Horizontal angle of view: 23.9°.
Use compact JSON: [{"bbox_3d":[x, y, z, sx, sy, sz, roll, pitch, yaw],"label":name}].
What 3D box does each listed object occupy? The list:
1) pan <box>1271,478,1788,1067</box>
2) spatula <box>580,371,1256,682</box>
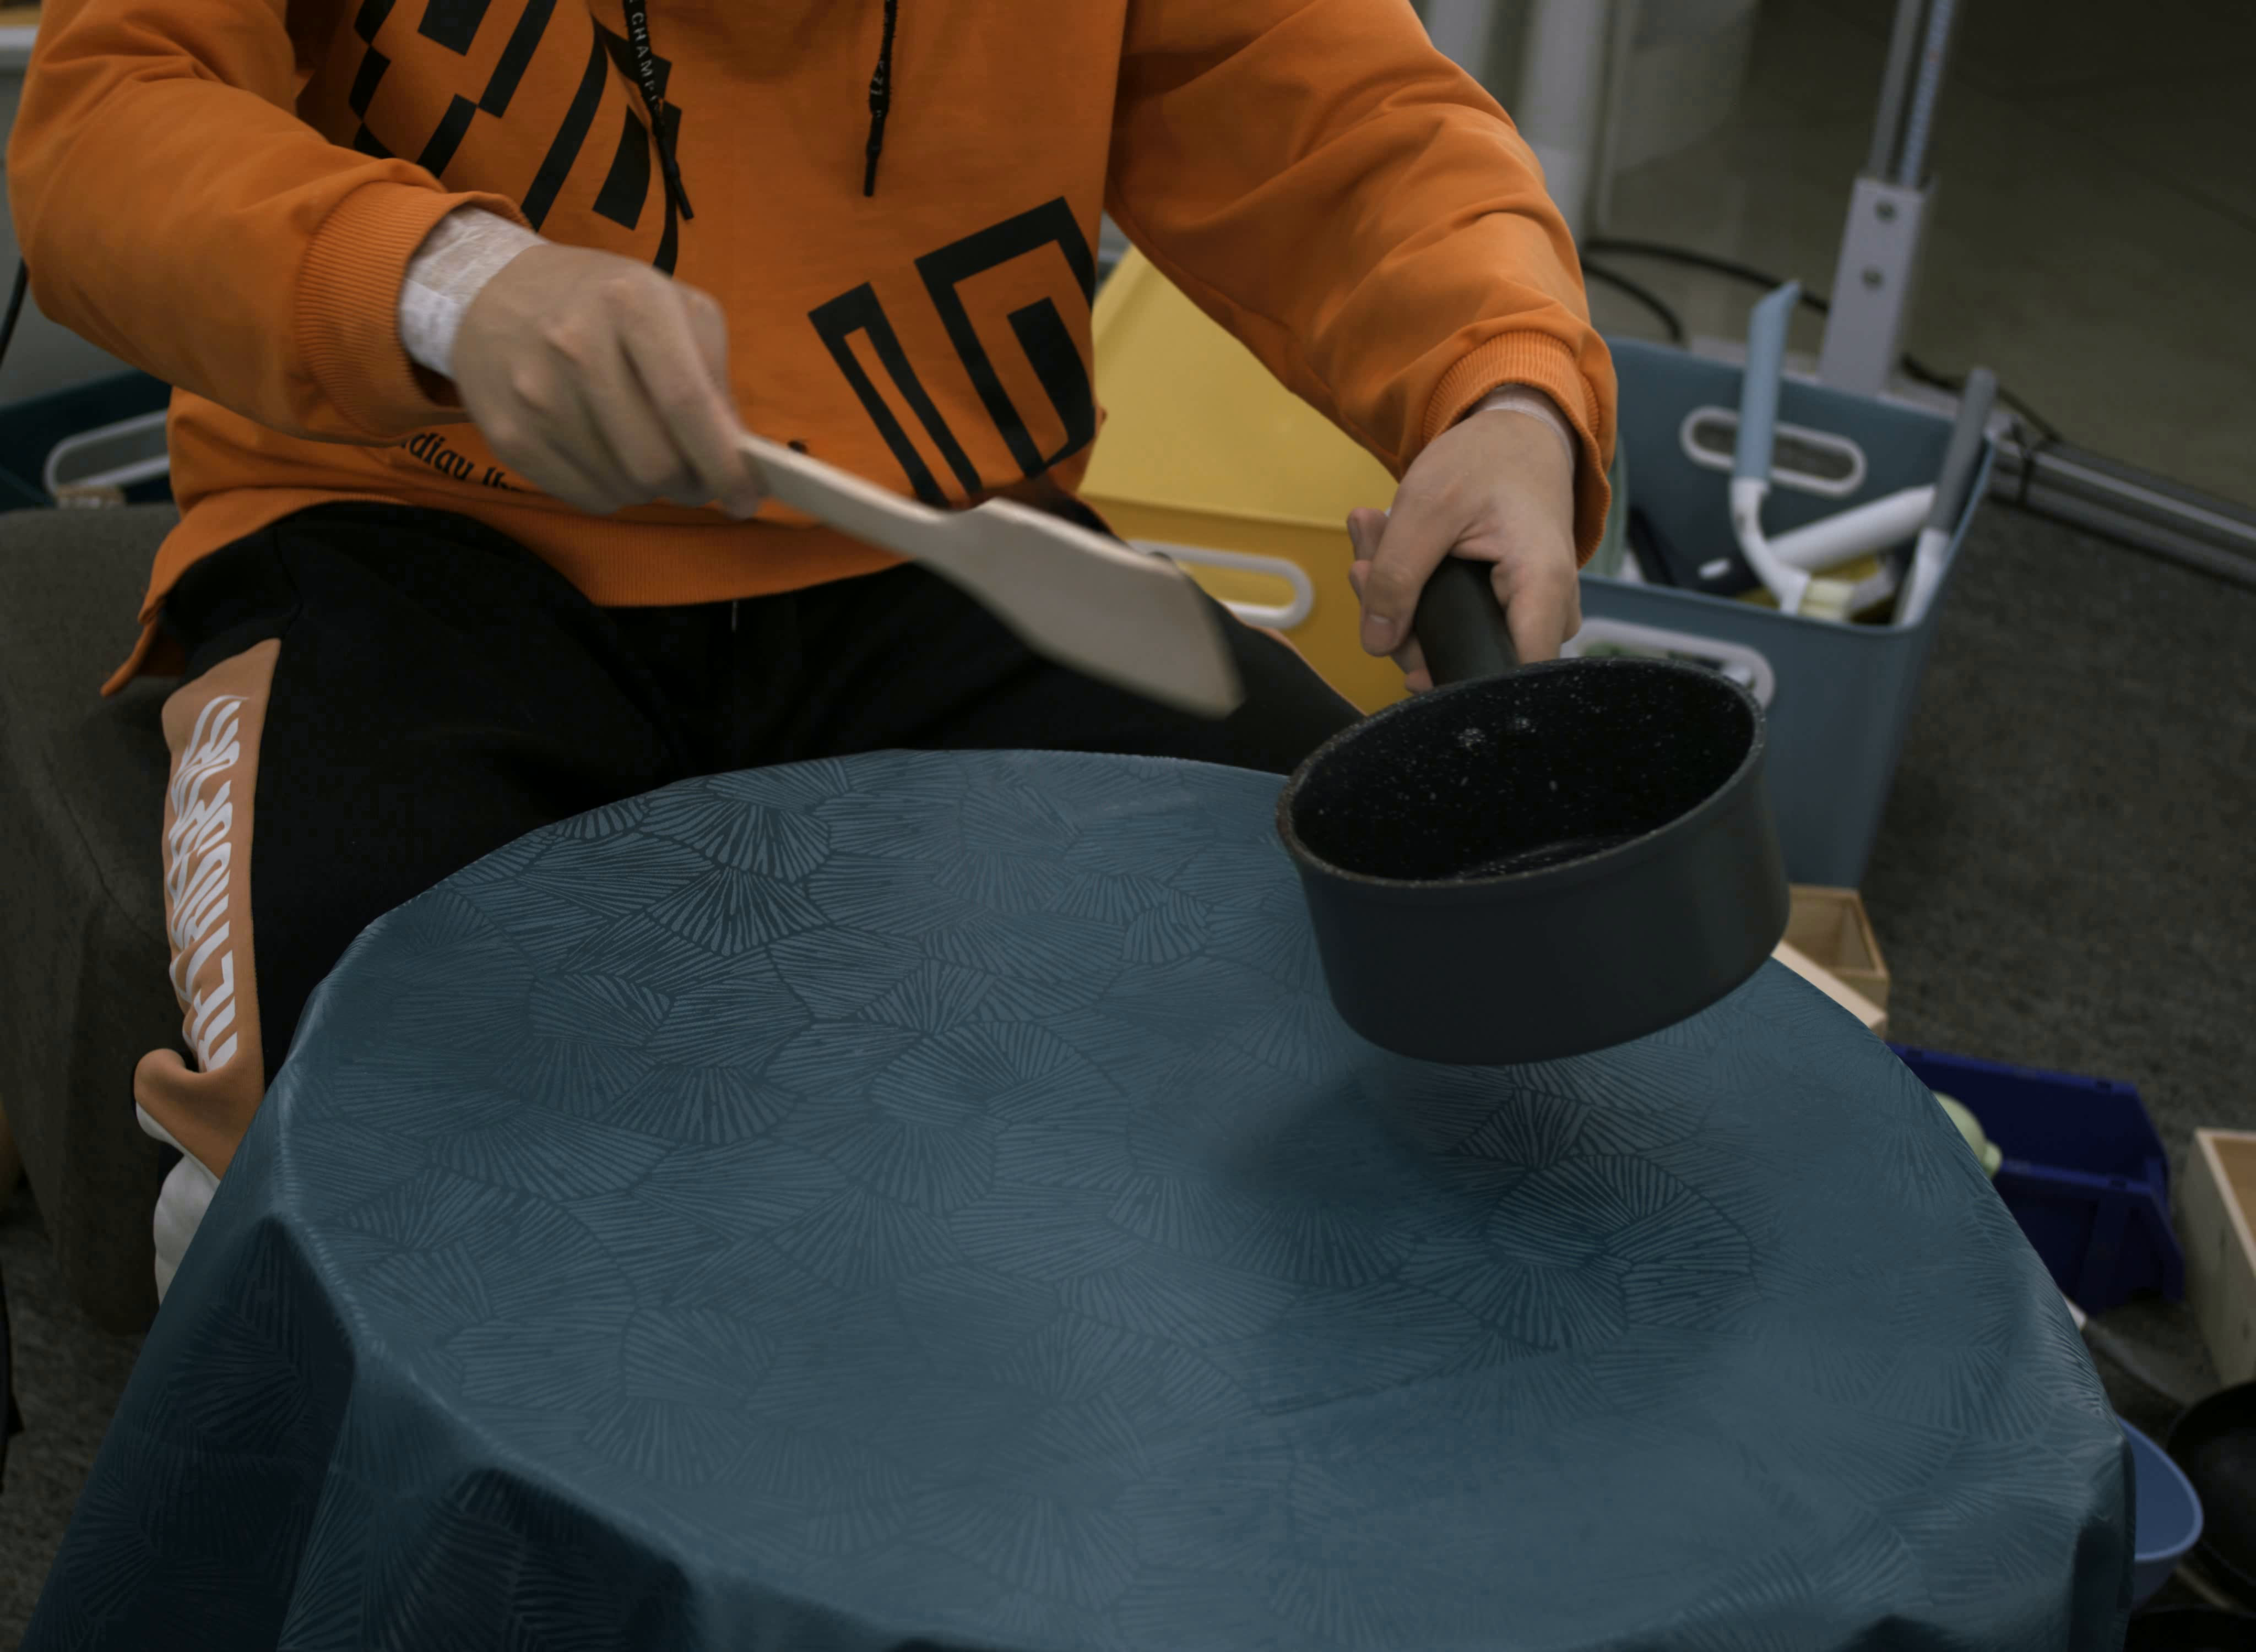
[{"bbox_3d":[0.135,-0.024,1.901,0.171,0.086,0.331,-12,25,3],"label":"pan"},{"bbox_3d":[-0.080,-0.109,1.786,0.295,0.071,0.010,22,66,36],"label":"spatula"}]
